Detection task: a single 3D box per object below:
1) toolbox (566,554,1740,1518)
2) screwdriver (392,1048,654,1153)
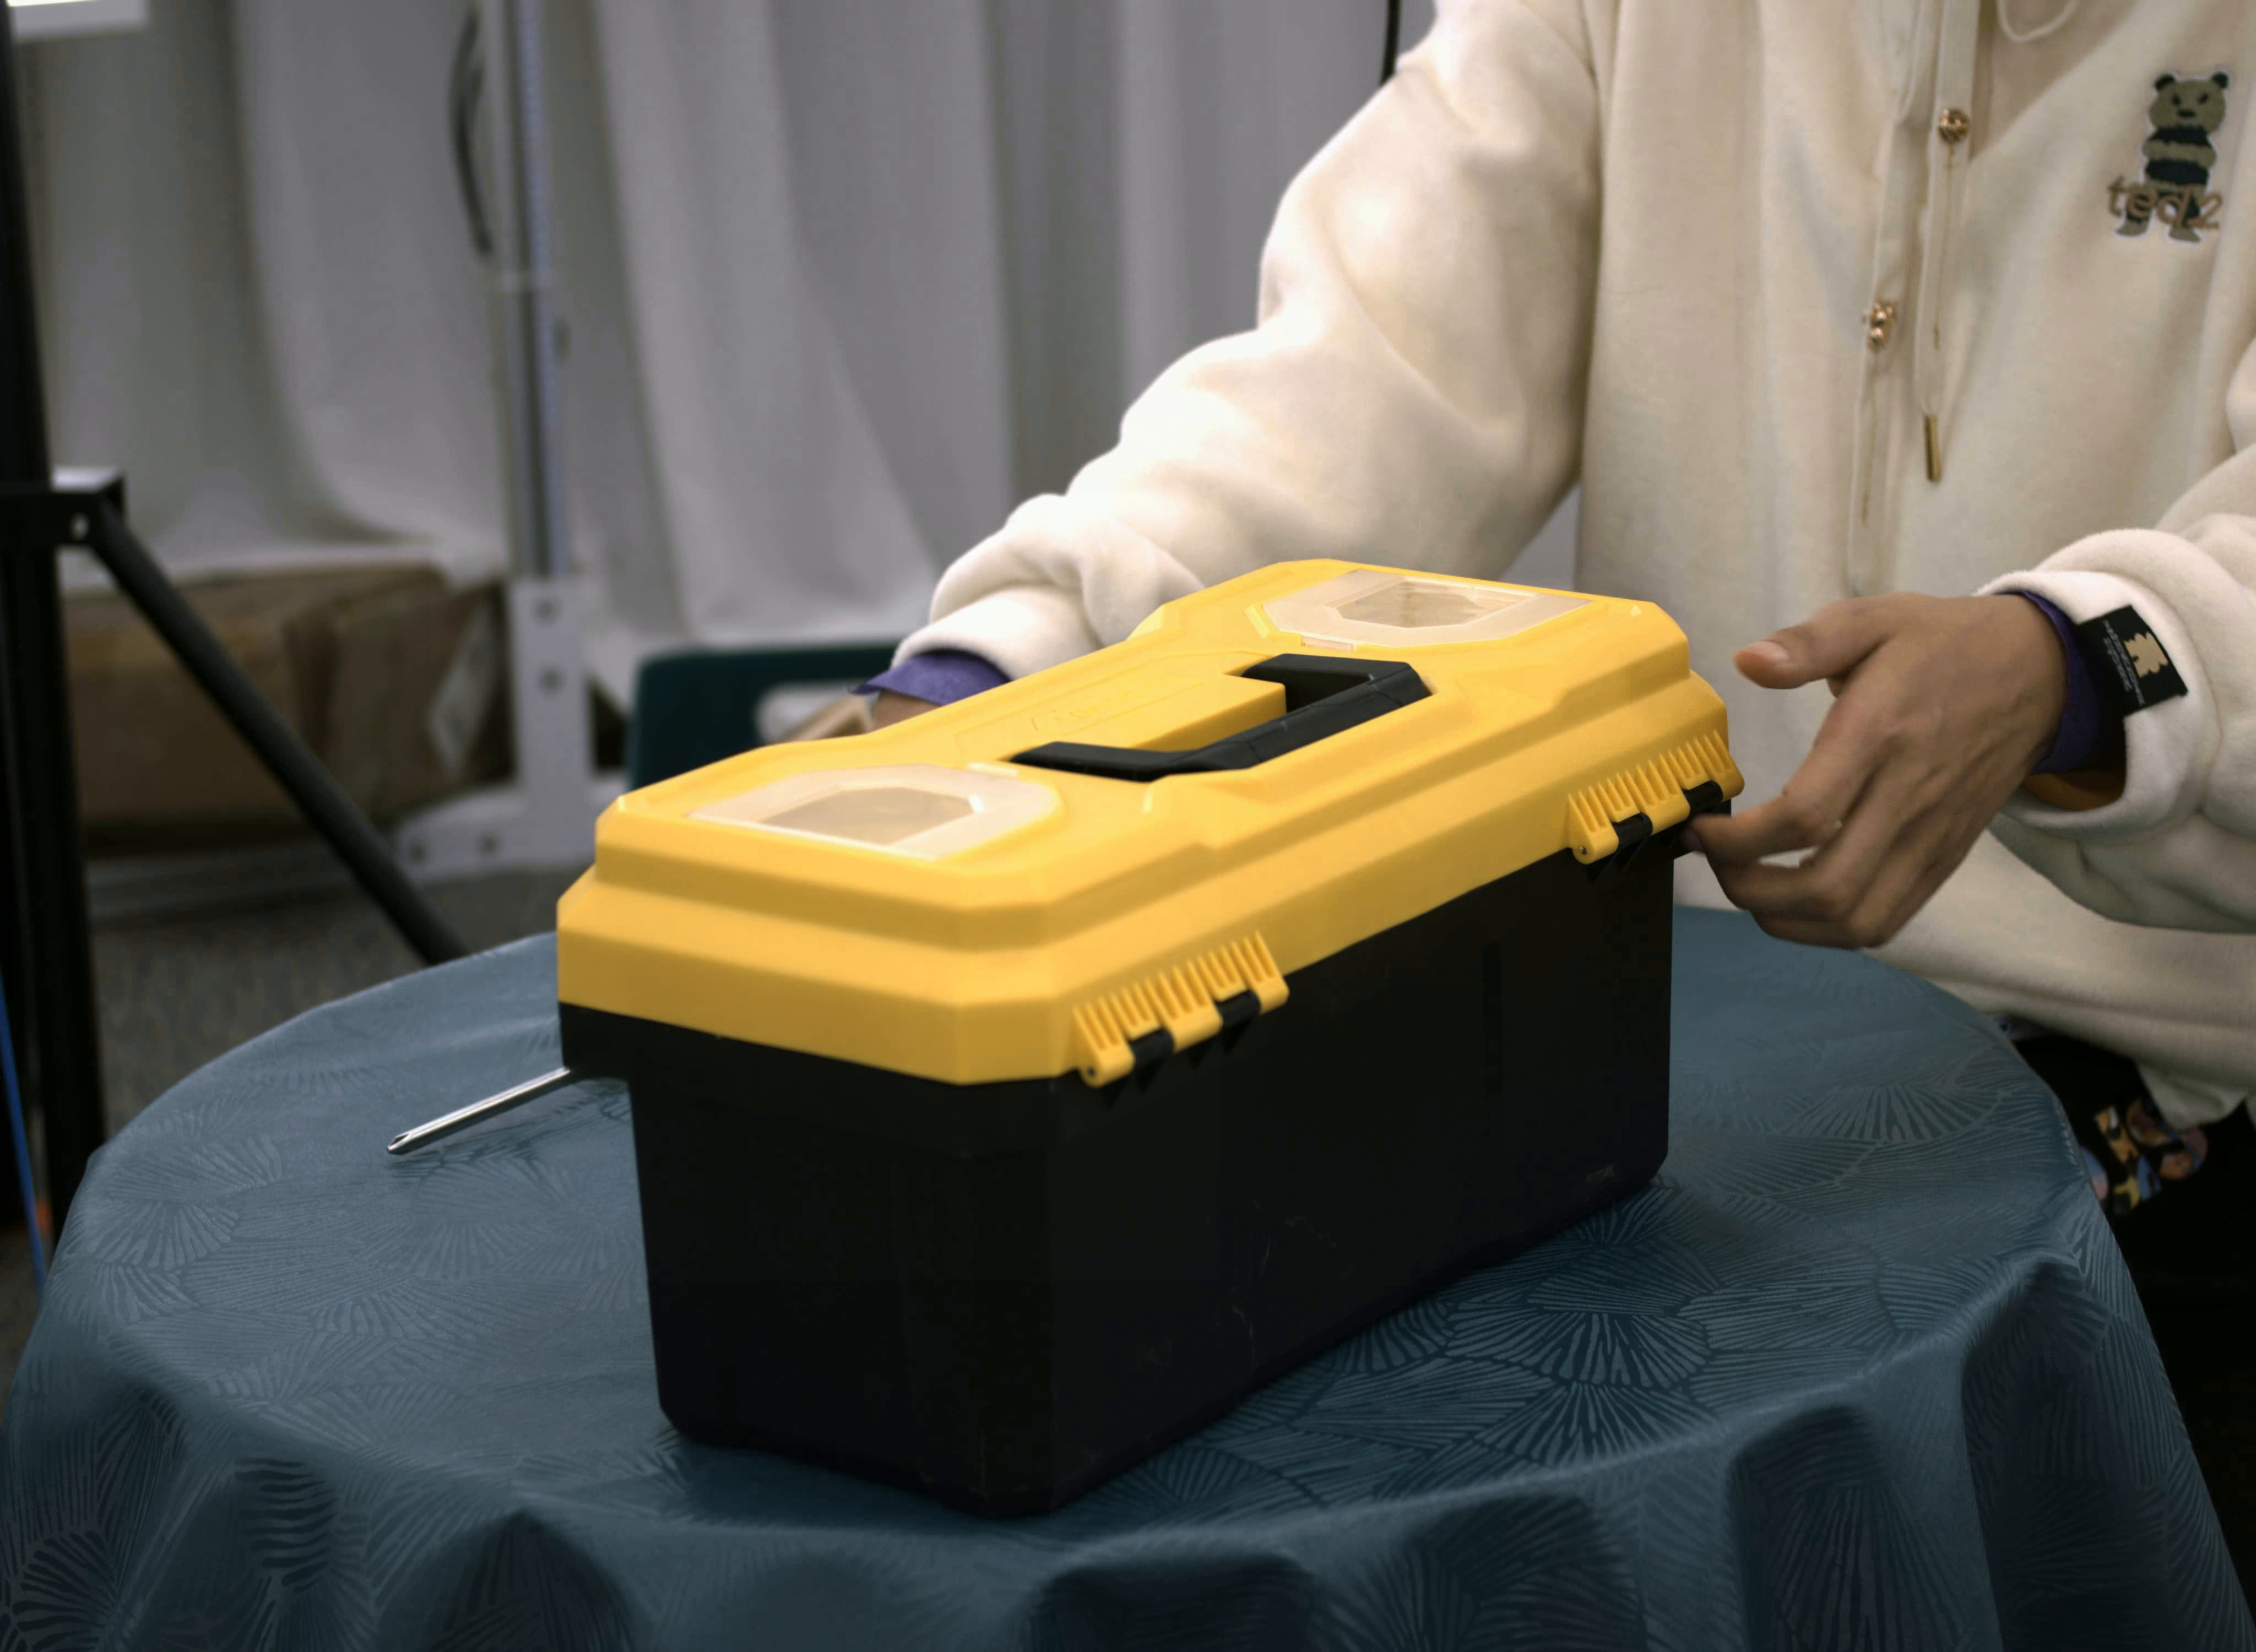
[{"bbox_3d":[0.015,0.047,1.451,0.185,0.173,0.344,10,20,37],"label":"toolbox"},{"bbox_3d":[-0.159,0.065,1.677,0.032,0.031,0.192,13,23,42],"label":"screwdriver"}]
